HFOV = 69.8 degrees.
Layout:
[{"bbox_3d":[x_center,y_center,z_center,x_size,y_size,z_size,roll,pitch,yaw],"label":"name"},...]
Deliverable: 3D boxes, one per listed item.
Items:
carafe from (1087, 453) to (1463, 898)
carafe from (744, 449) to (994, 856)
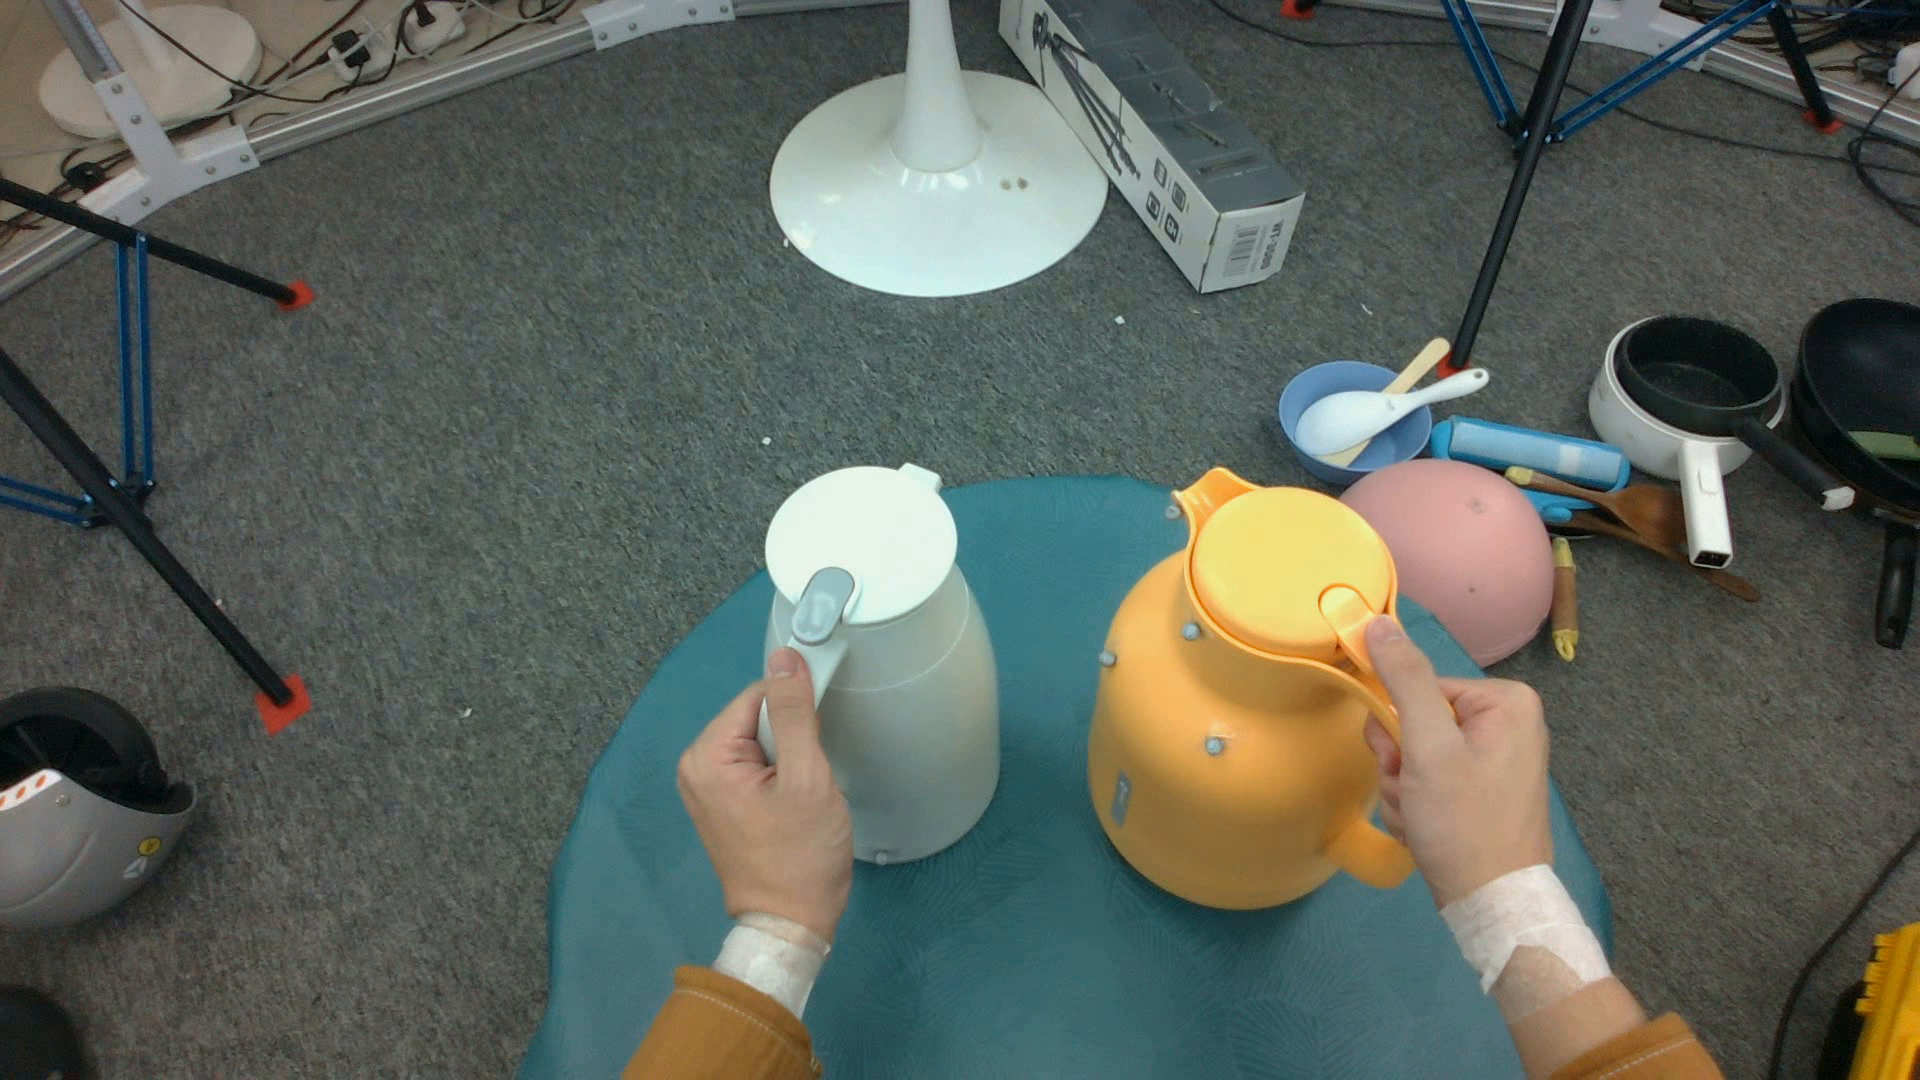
[{"bbox_3d":[0.160,0.087,0.715,0.164,0.259,0.203,-29,58,-16],"label":"carafe"},{"bbox_3d":[-0.056,0.075,0.733,0.132,0.247,0.168,21,58,15],"label":"carafe"}]
